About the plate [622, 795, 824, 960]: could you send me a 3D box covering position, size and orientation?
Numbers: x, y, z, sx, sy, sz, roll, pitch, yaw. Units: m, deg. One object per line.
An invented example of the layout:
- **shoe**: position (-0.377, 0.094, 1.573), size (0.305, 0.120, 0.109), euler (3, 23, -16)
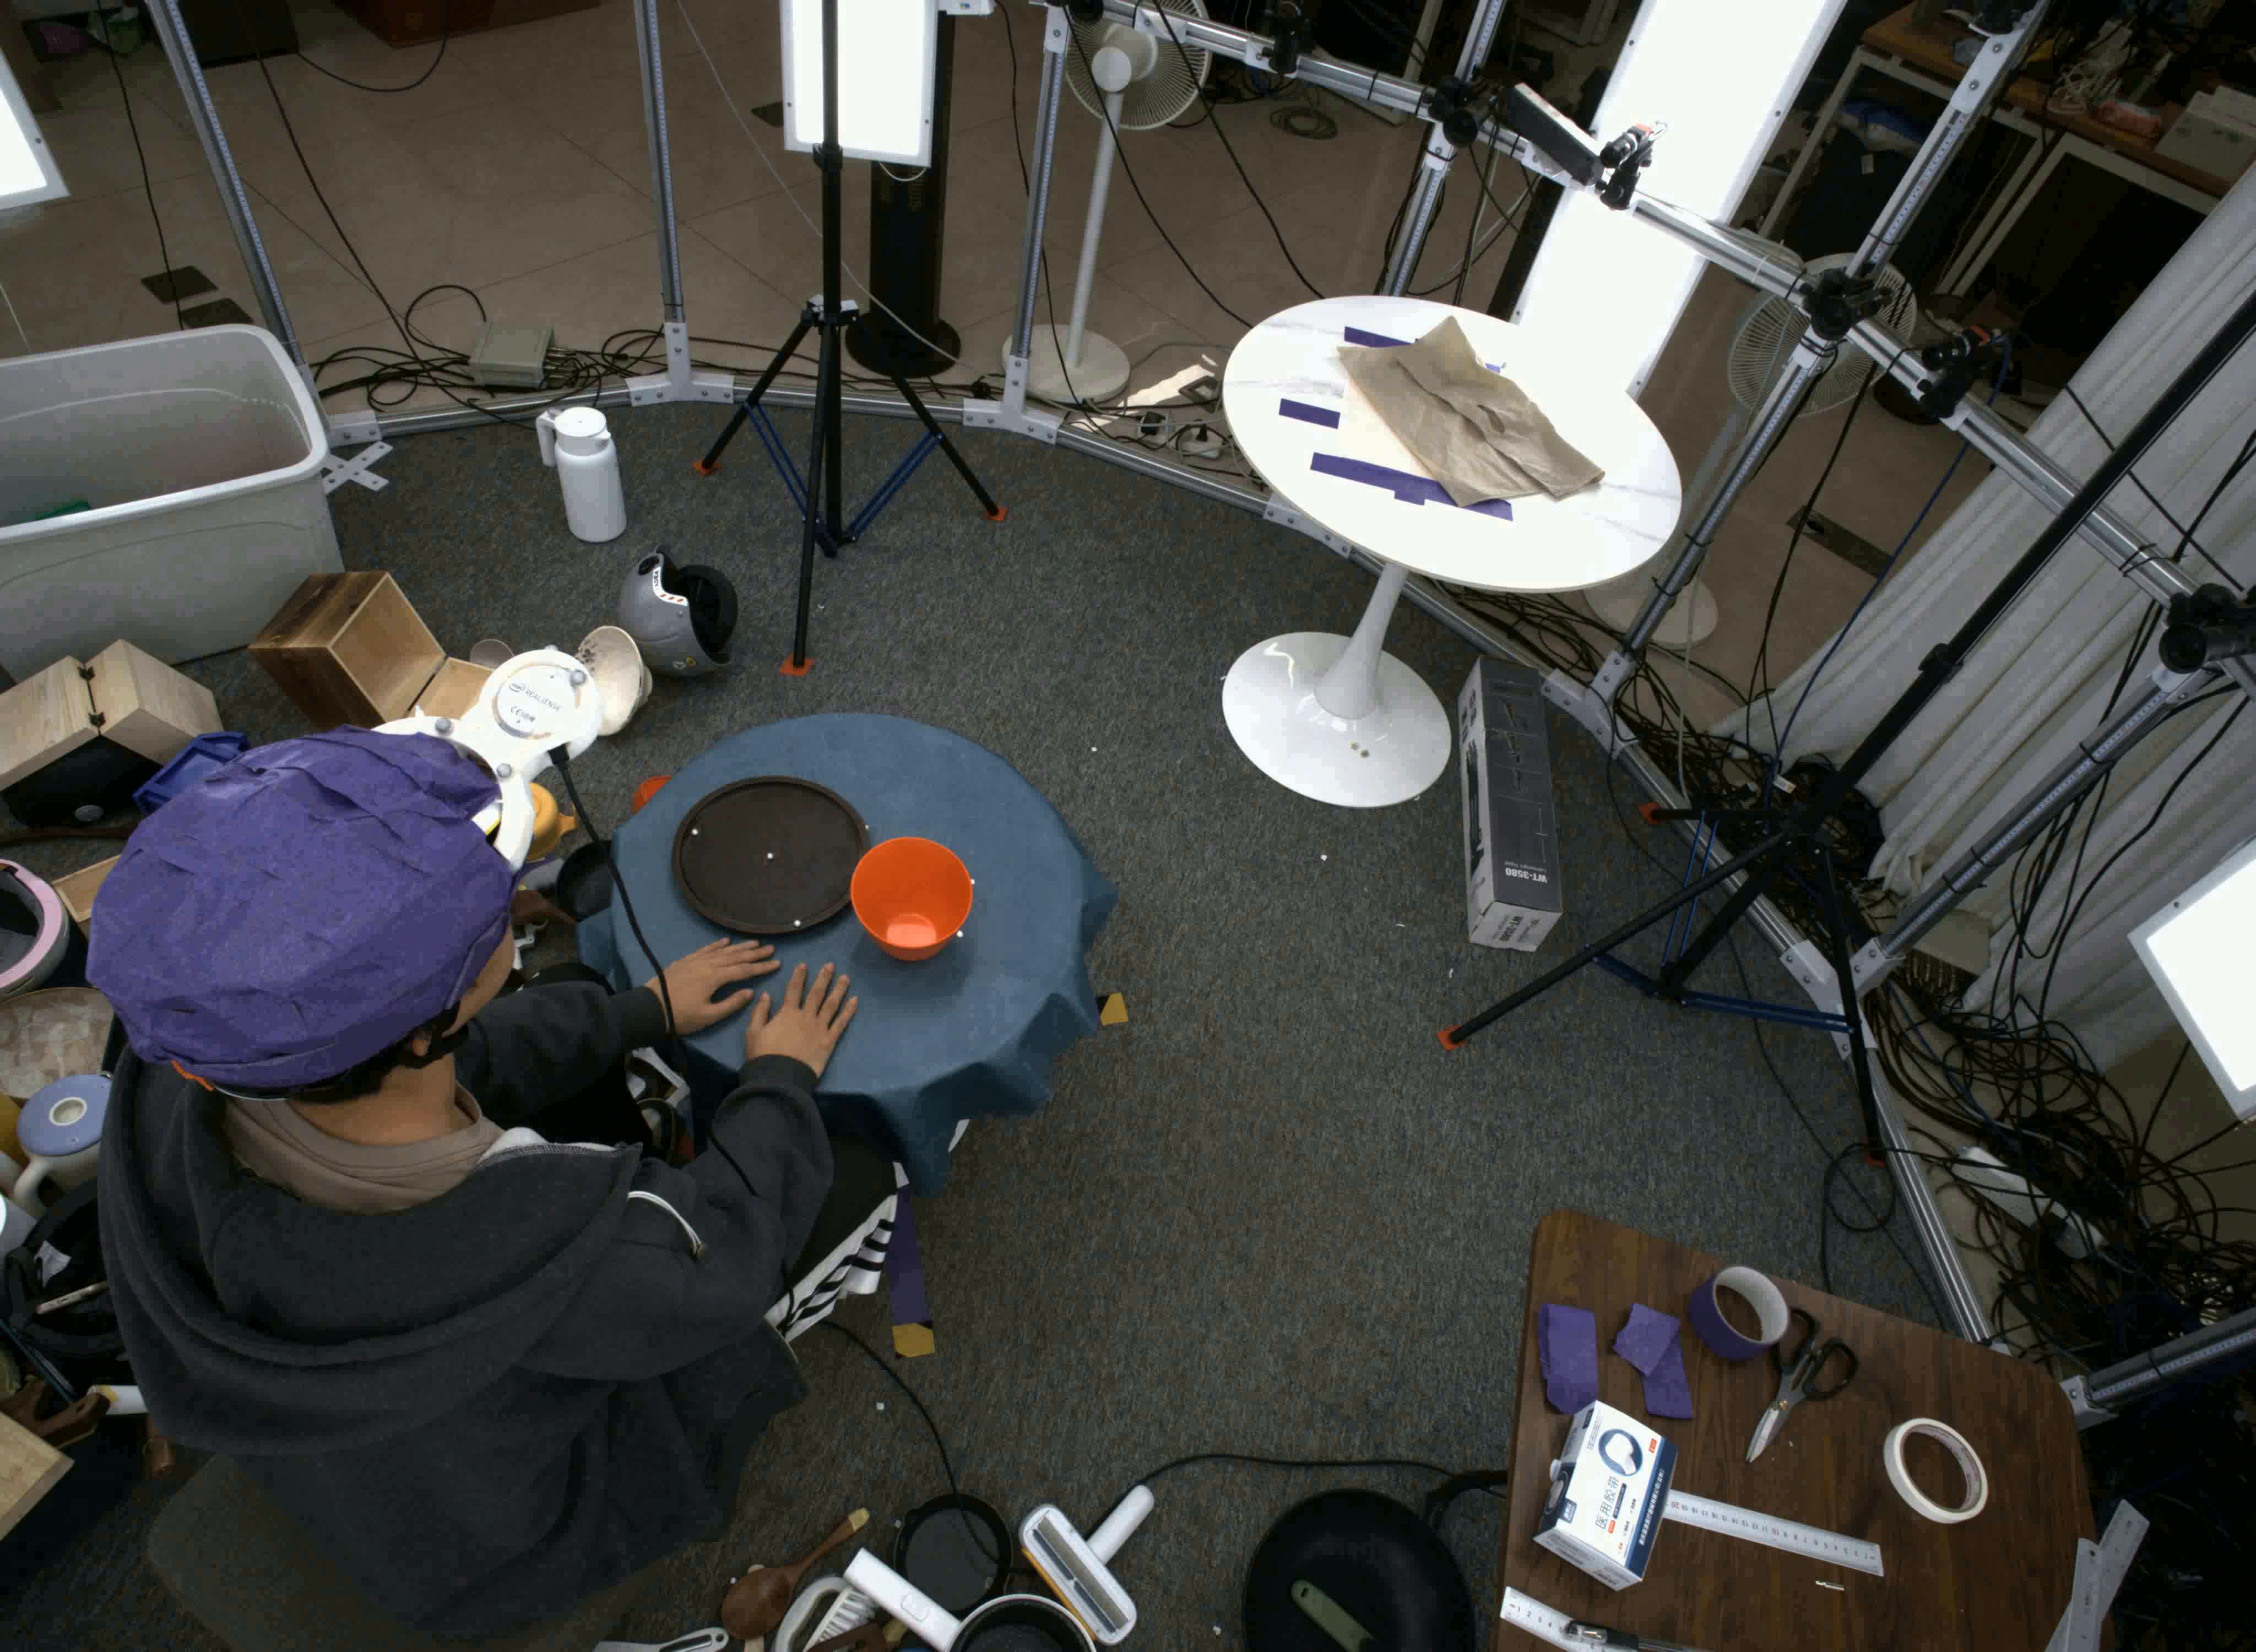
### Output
- **plate**: position (-0.516, 0.062, 1.645), size (0.254, 0.029, 0.250), euler (9, 53, -10)

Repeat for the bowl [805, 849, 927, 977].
- **bowl**: position (-0.323, 0.117, 1.602), size (0.148, 0.107, 0.145), euler (8, 50, -9)
